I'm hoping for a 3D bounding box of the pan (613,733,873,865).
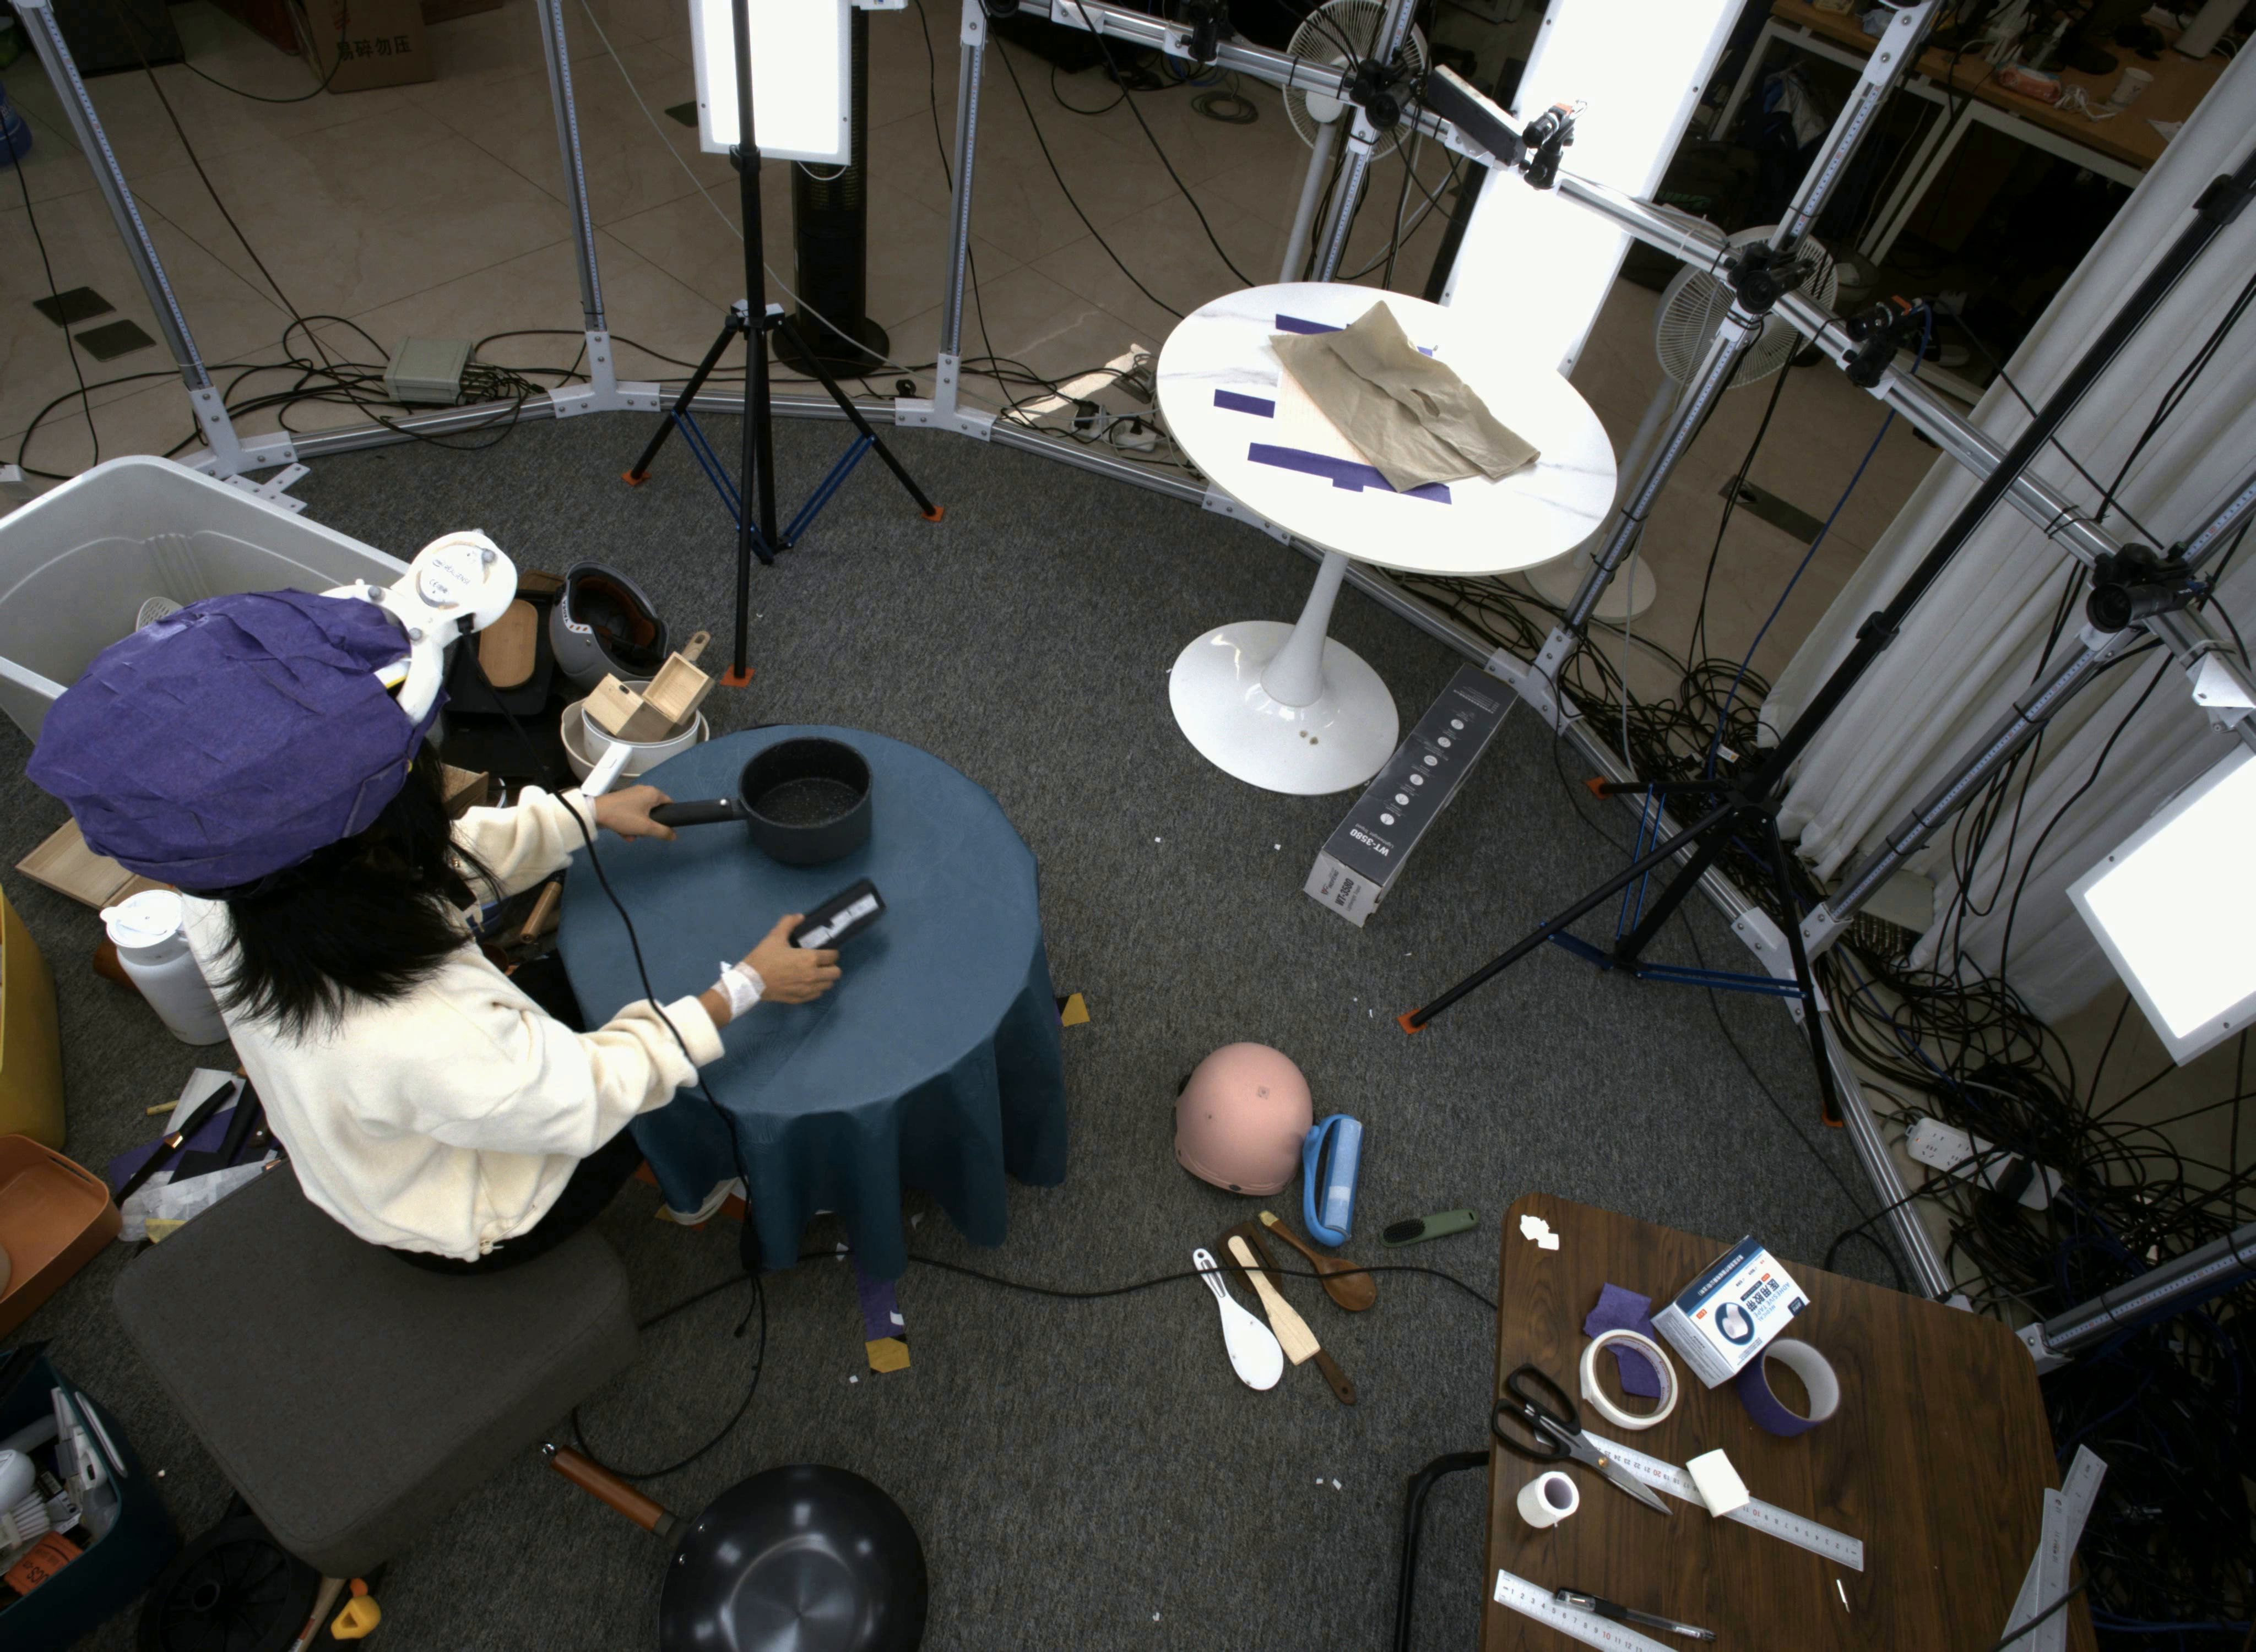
[{"bbox_3d":[-0.490,-0.022,1.658,0.330,0.088,0.167,-10,50,-21],"label":"pan"}]

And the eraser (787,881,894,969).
[{"bbox_3d":[-0.352,0.118,1.590,0.126,0.030,0.054,-33,100,-32],"label":"eraser"}]
